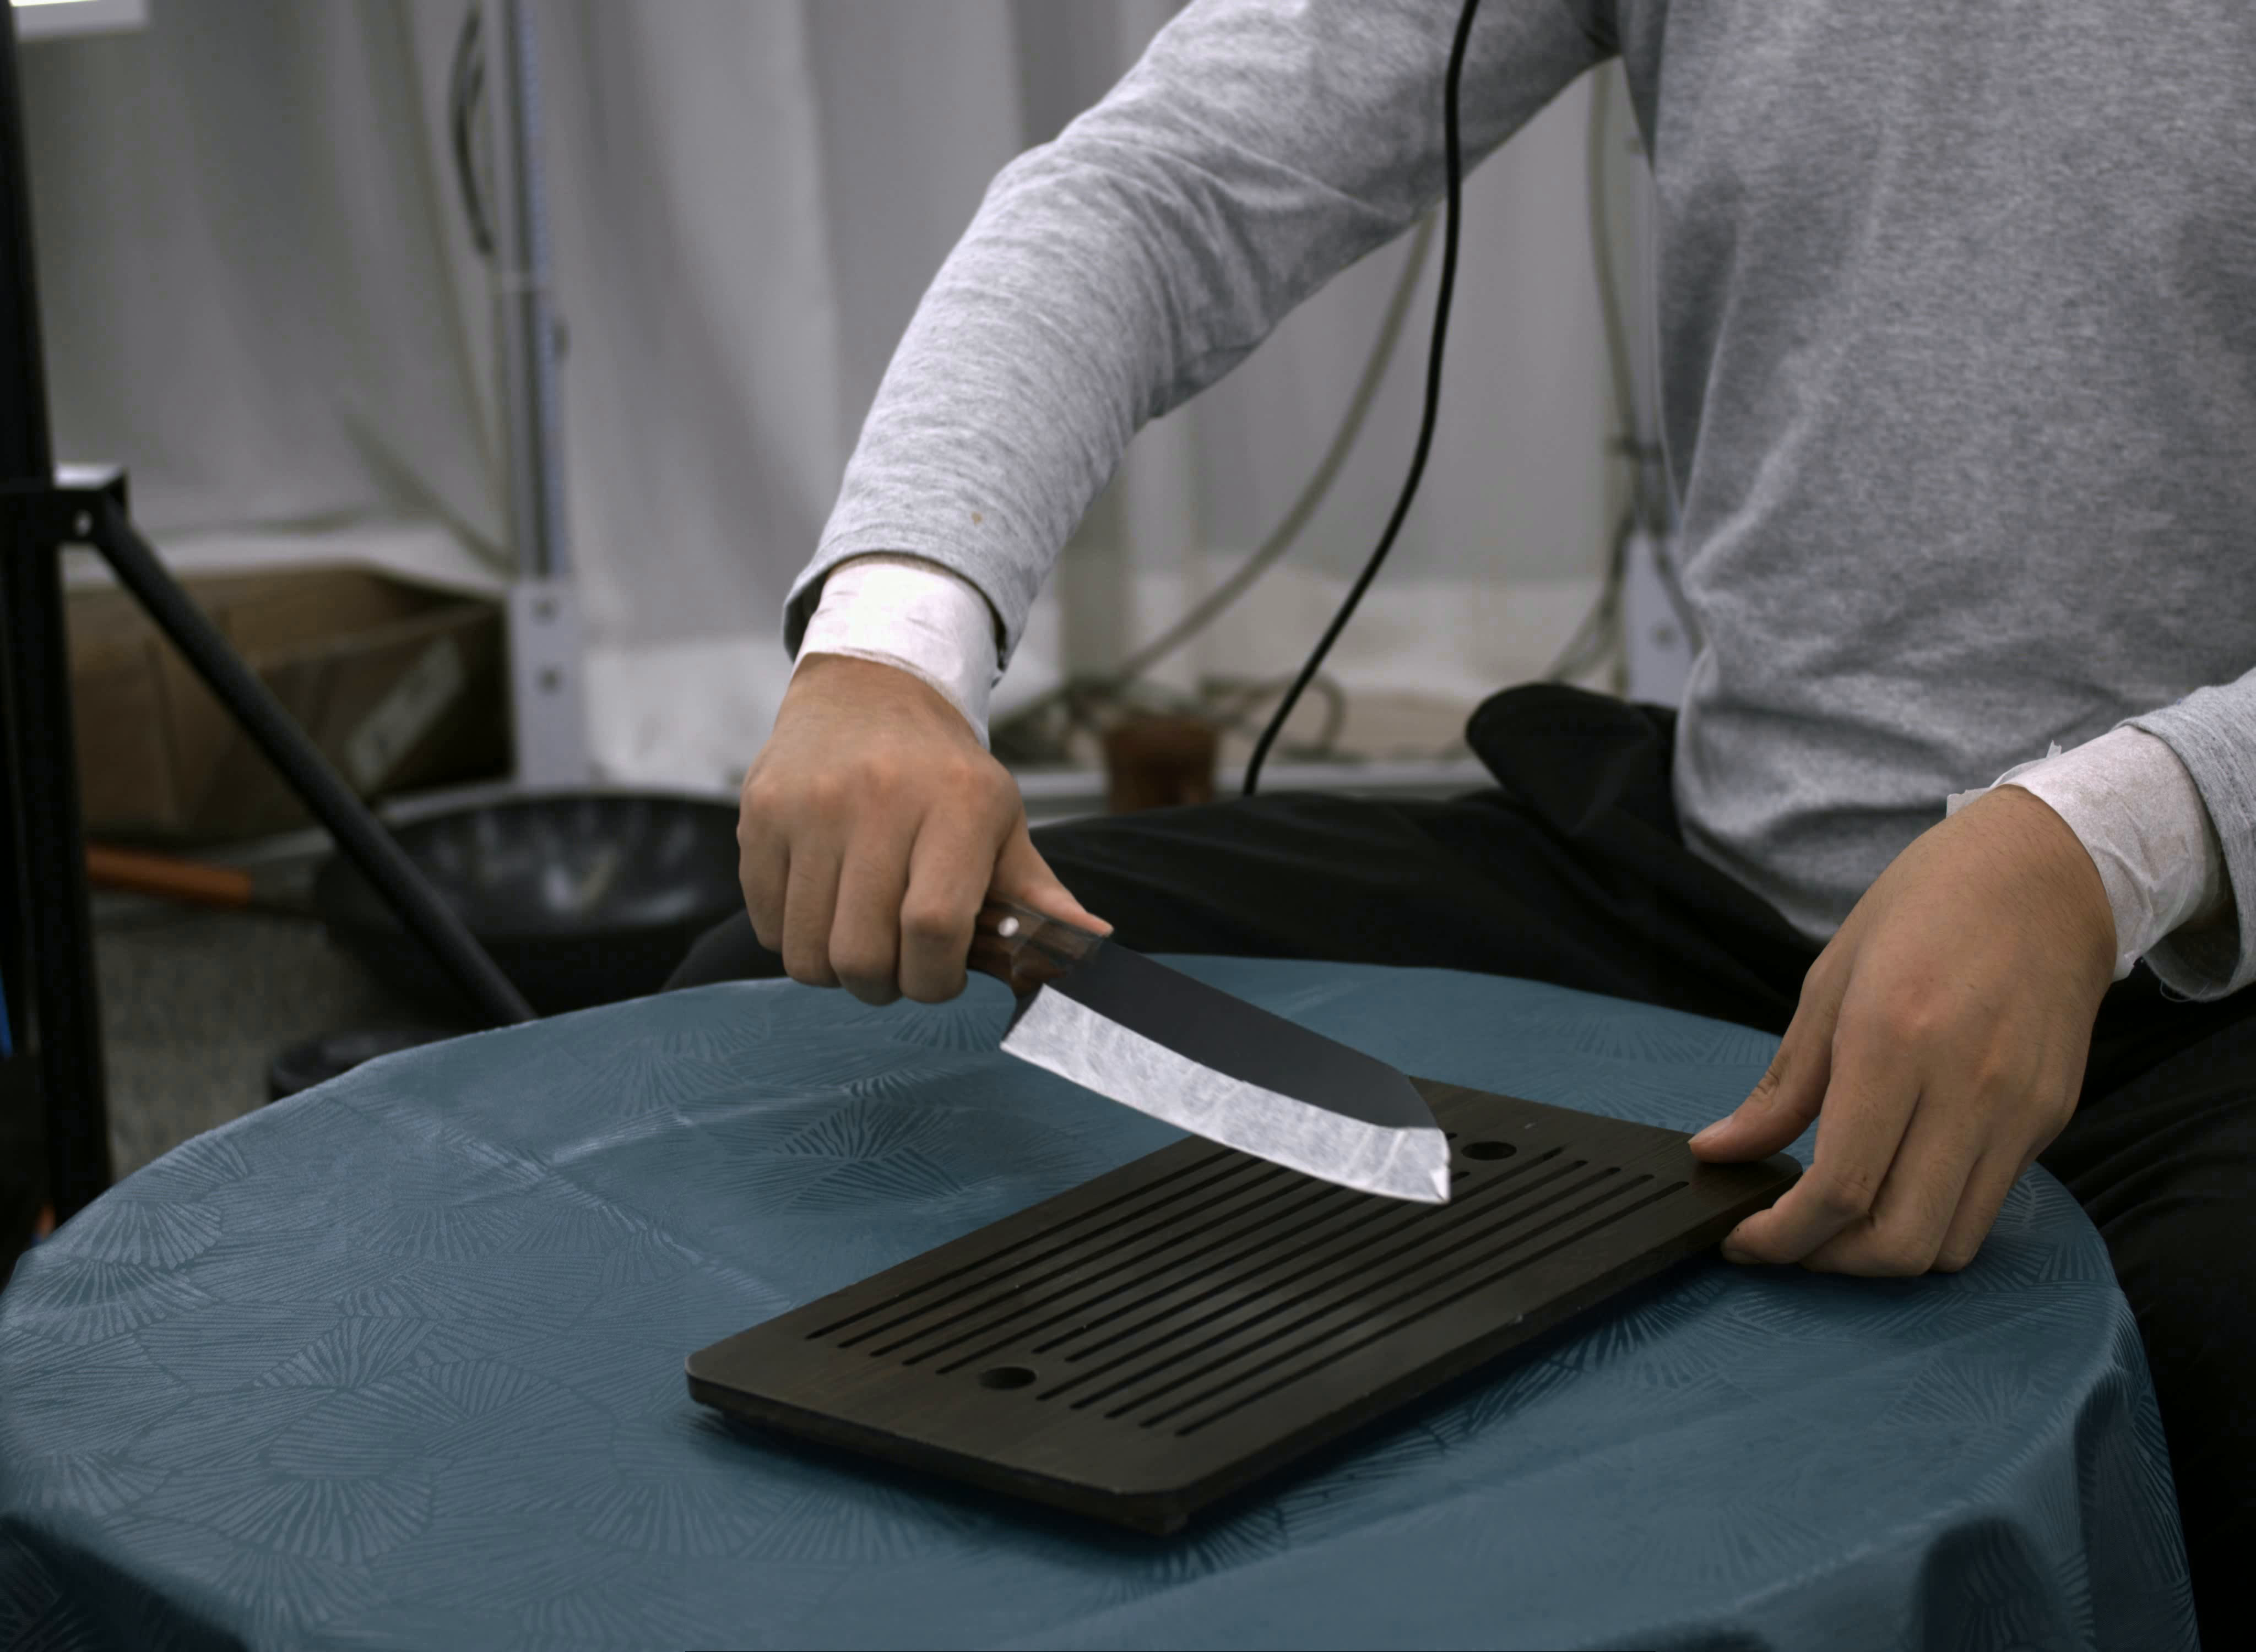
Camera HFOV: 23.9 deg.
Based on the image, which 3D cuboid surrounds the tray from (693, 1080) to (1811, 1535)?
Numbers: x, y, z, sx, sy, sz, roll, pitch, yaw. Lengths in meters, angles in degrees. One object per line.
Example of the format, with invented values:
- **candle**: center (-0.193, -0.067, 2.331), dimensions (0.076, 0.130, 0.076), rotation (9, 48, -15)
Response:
- **tray**: center (0.040, 0.127, 1.453), dimensions (0.174, 0.018, 0.299), rotation (10, 19, 40)

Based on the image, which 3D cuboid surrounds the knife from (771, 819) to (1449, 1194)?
- **knife**: center (-0.009, 0.051, 1.538), dimensions (0.296, 0.019, 0.050), rotation (25, 72, 44)
